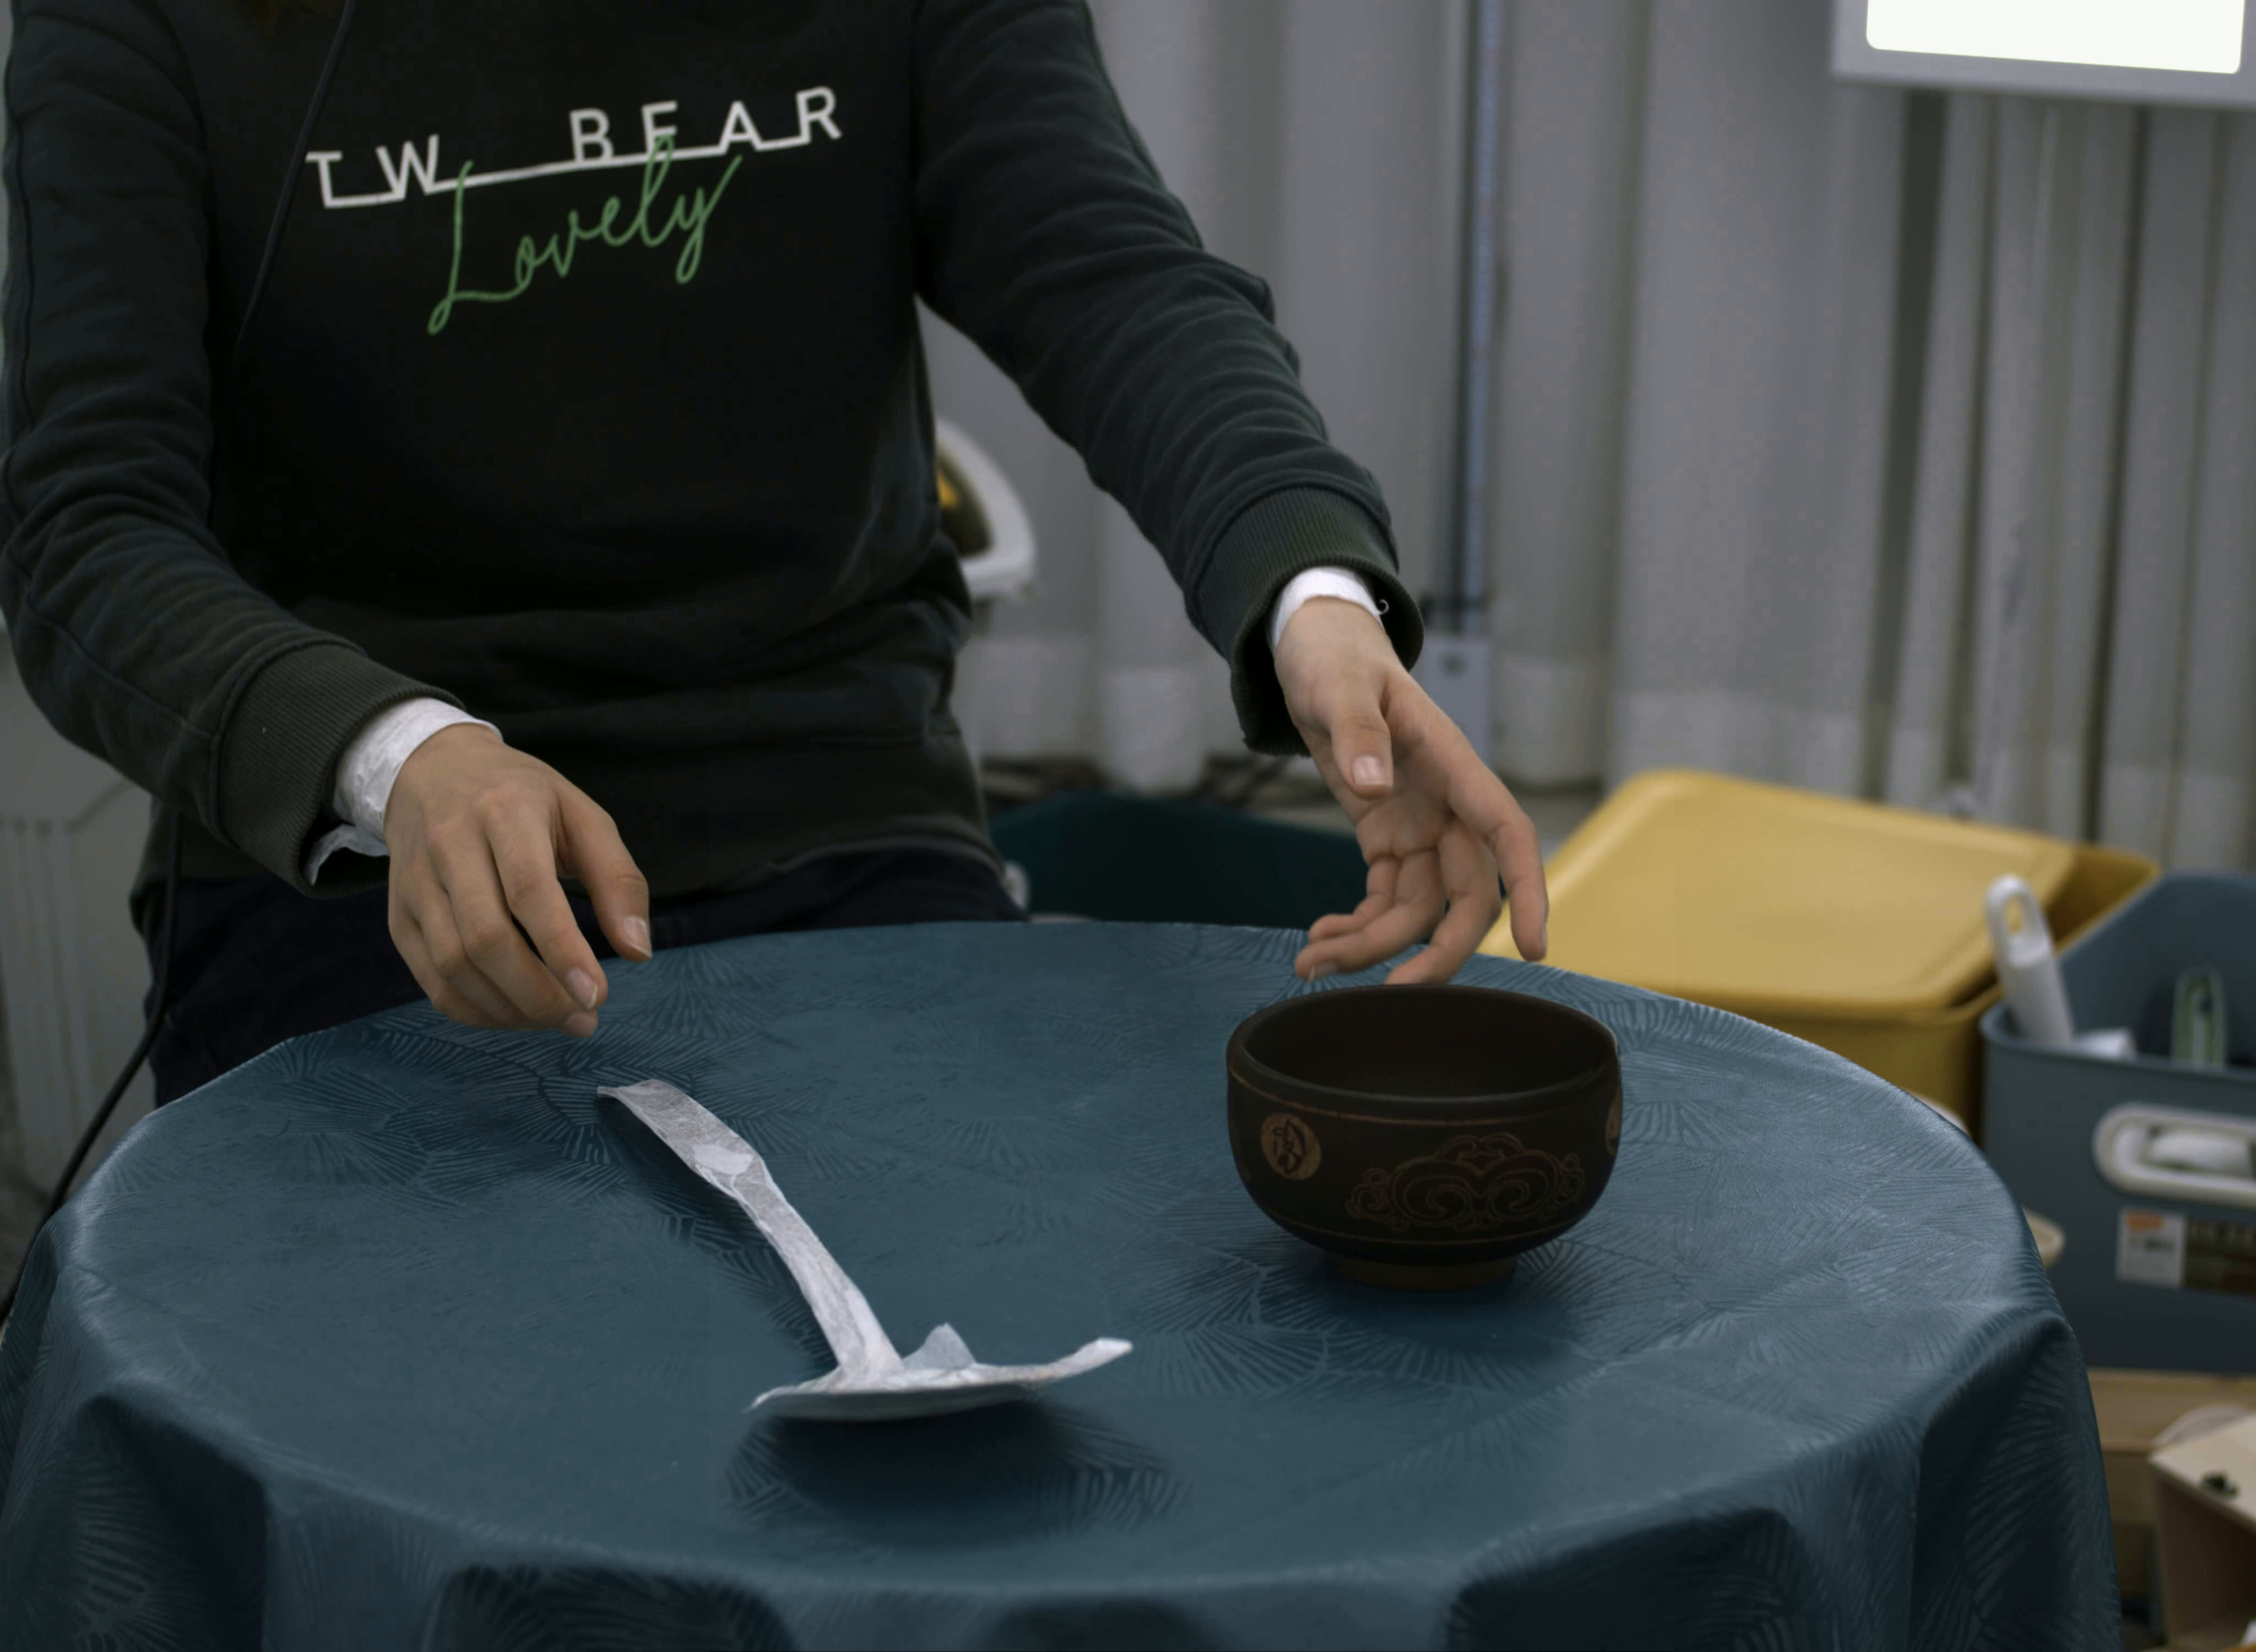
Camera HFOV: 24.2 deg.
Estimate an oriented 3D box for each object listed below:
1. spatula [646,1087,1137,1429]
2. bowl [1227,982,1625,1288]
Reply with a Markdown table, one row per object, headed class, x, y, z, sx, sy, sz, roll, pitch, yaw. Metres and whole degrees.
| class | x | y | z | sx | sy | sz | roll | pitch | yaw |
| --- | --- | --- | --- | --- | --- | --- | --- | --- | --- |
| spatula | -0.094 | 0.117 | 1.538 | 0.099 | 0.045 | 0.361 | -7 | 18 | -18 |
| bowl | 0.087 | 0.095 | 1.561 | 0.117 | 0.070 | 0.117 | 2 | 15 | 0 |
